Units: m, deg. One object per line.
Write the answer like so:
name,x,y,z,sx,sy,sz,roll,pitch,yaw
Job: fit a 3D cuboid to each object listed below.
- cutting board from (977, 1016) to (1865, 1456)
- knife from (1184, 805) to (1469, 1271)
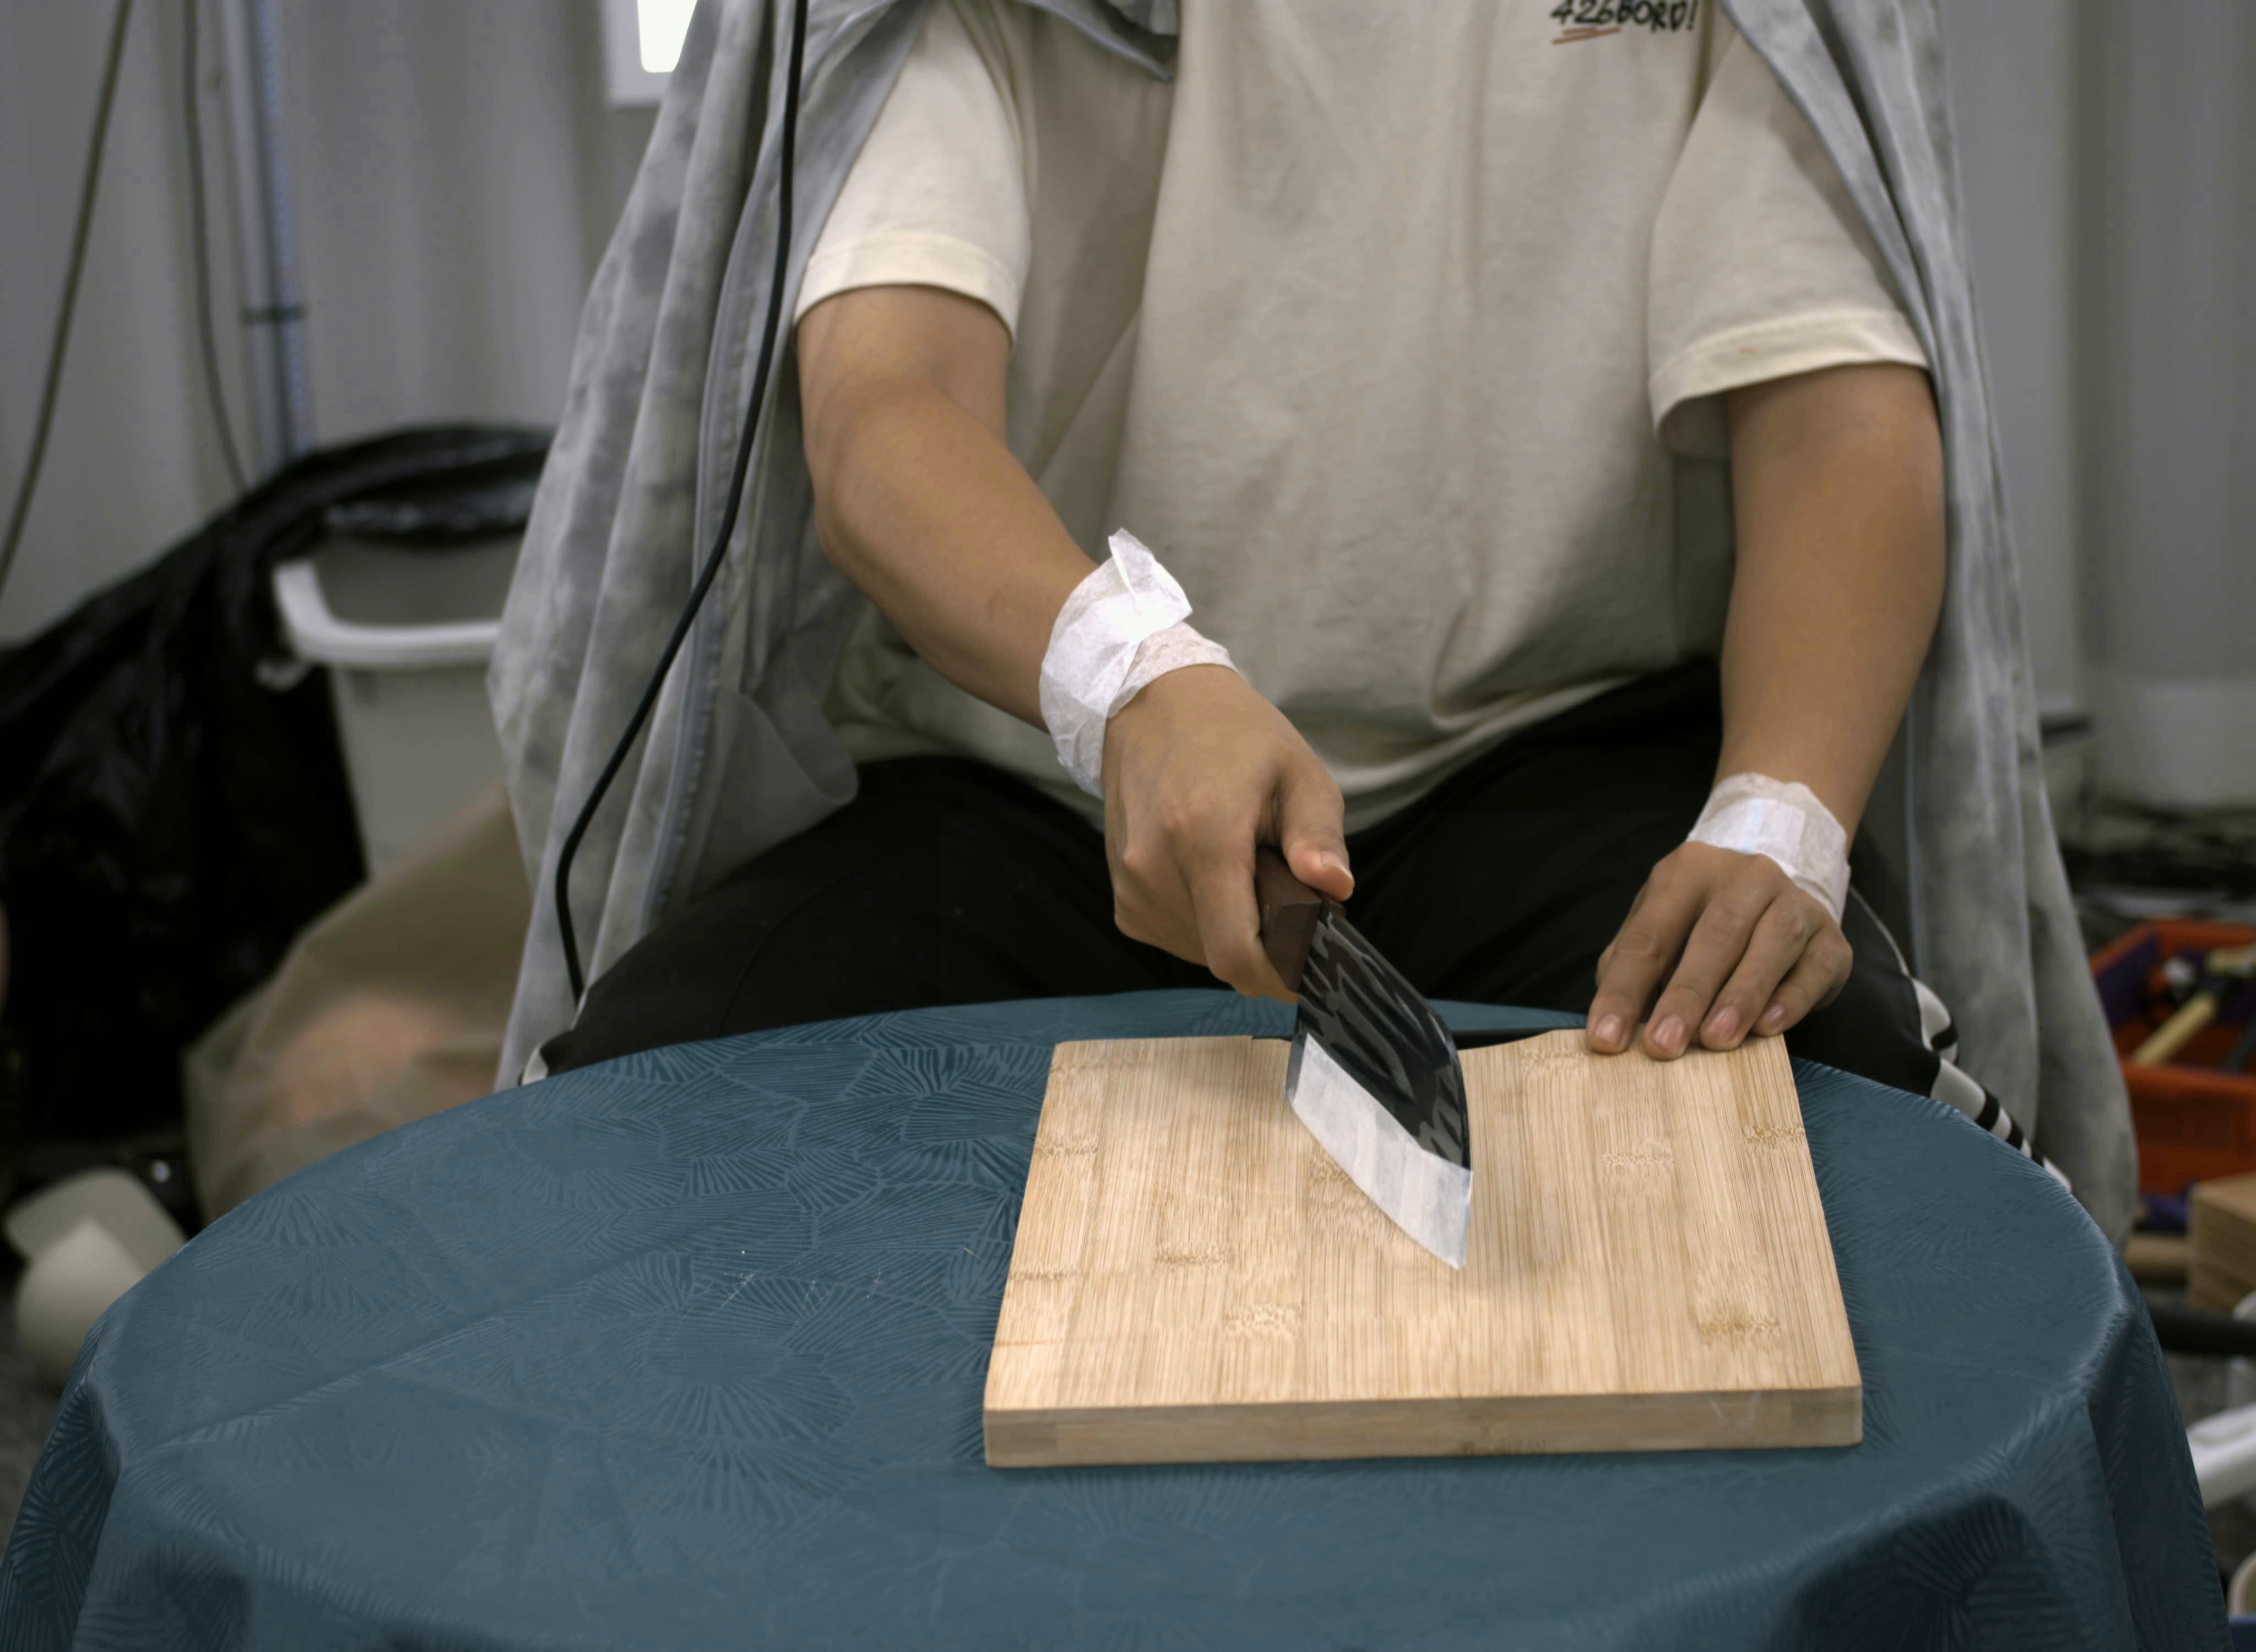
cutting board,0.088,0.120,1.654,0.250,0.023,0.351,-2,15,2
knife,0.061,0.062,1.696,0.024,0.068,0.302,7,15,-17
